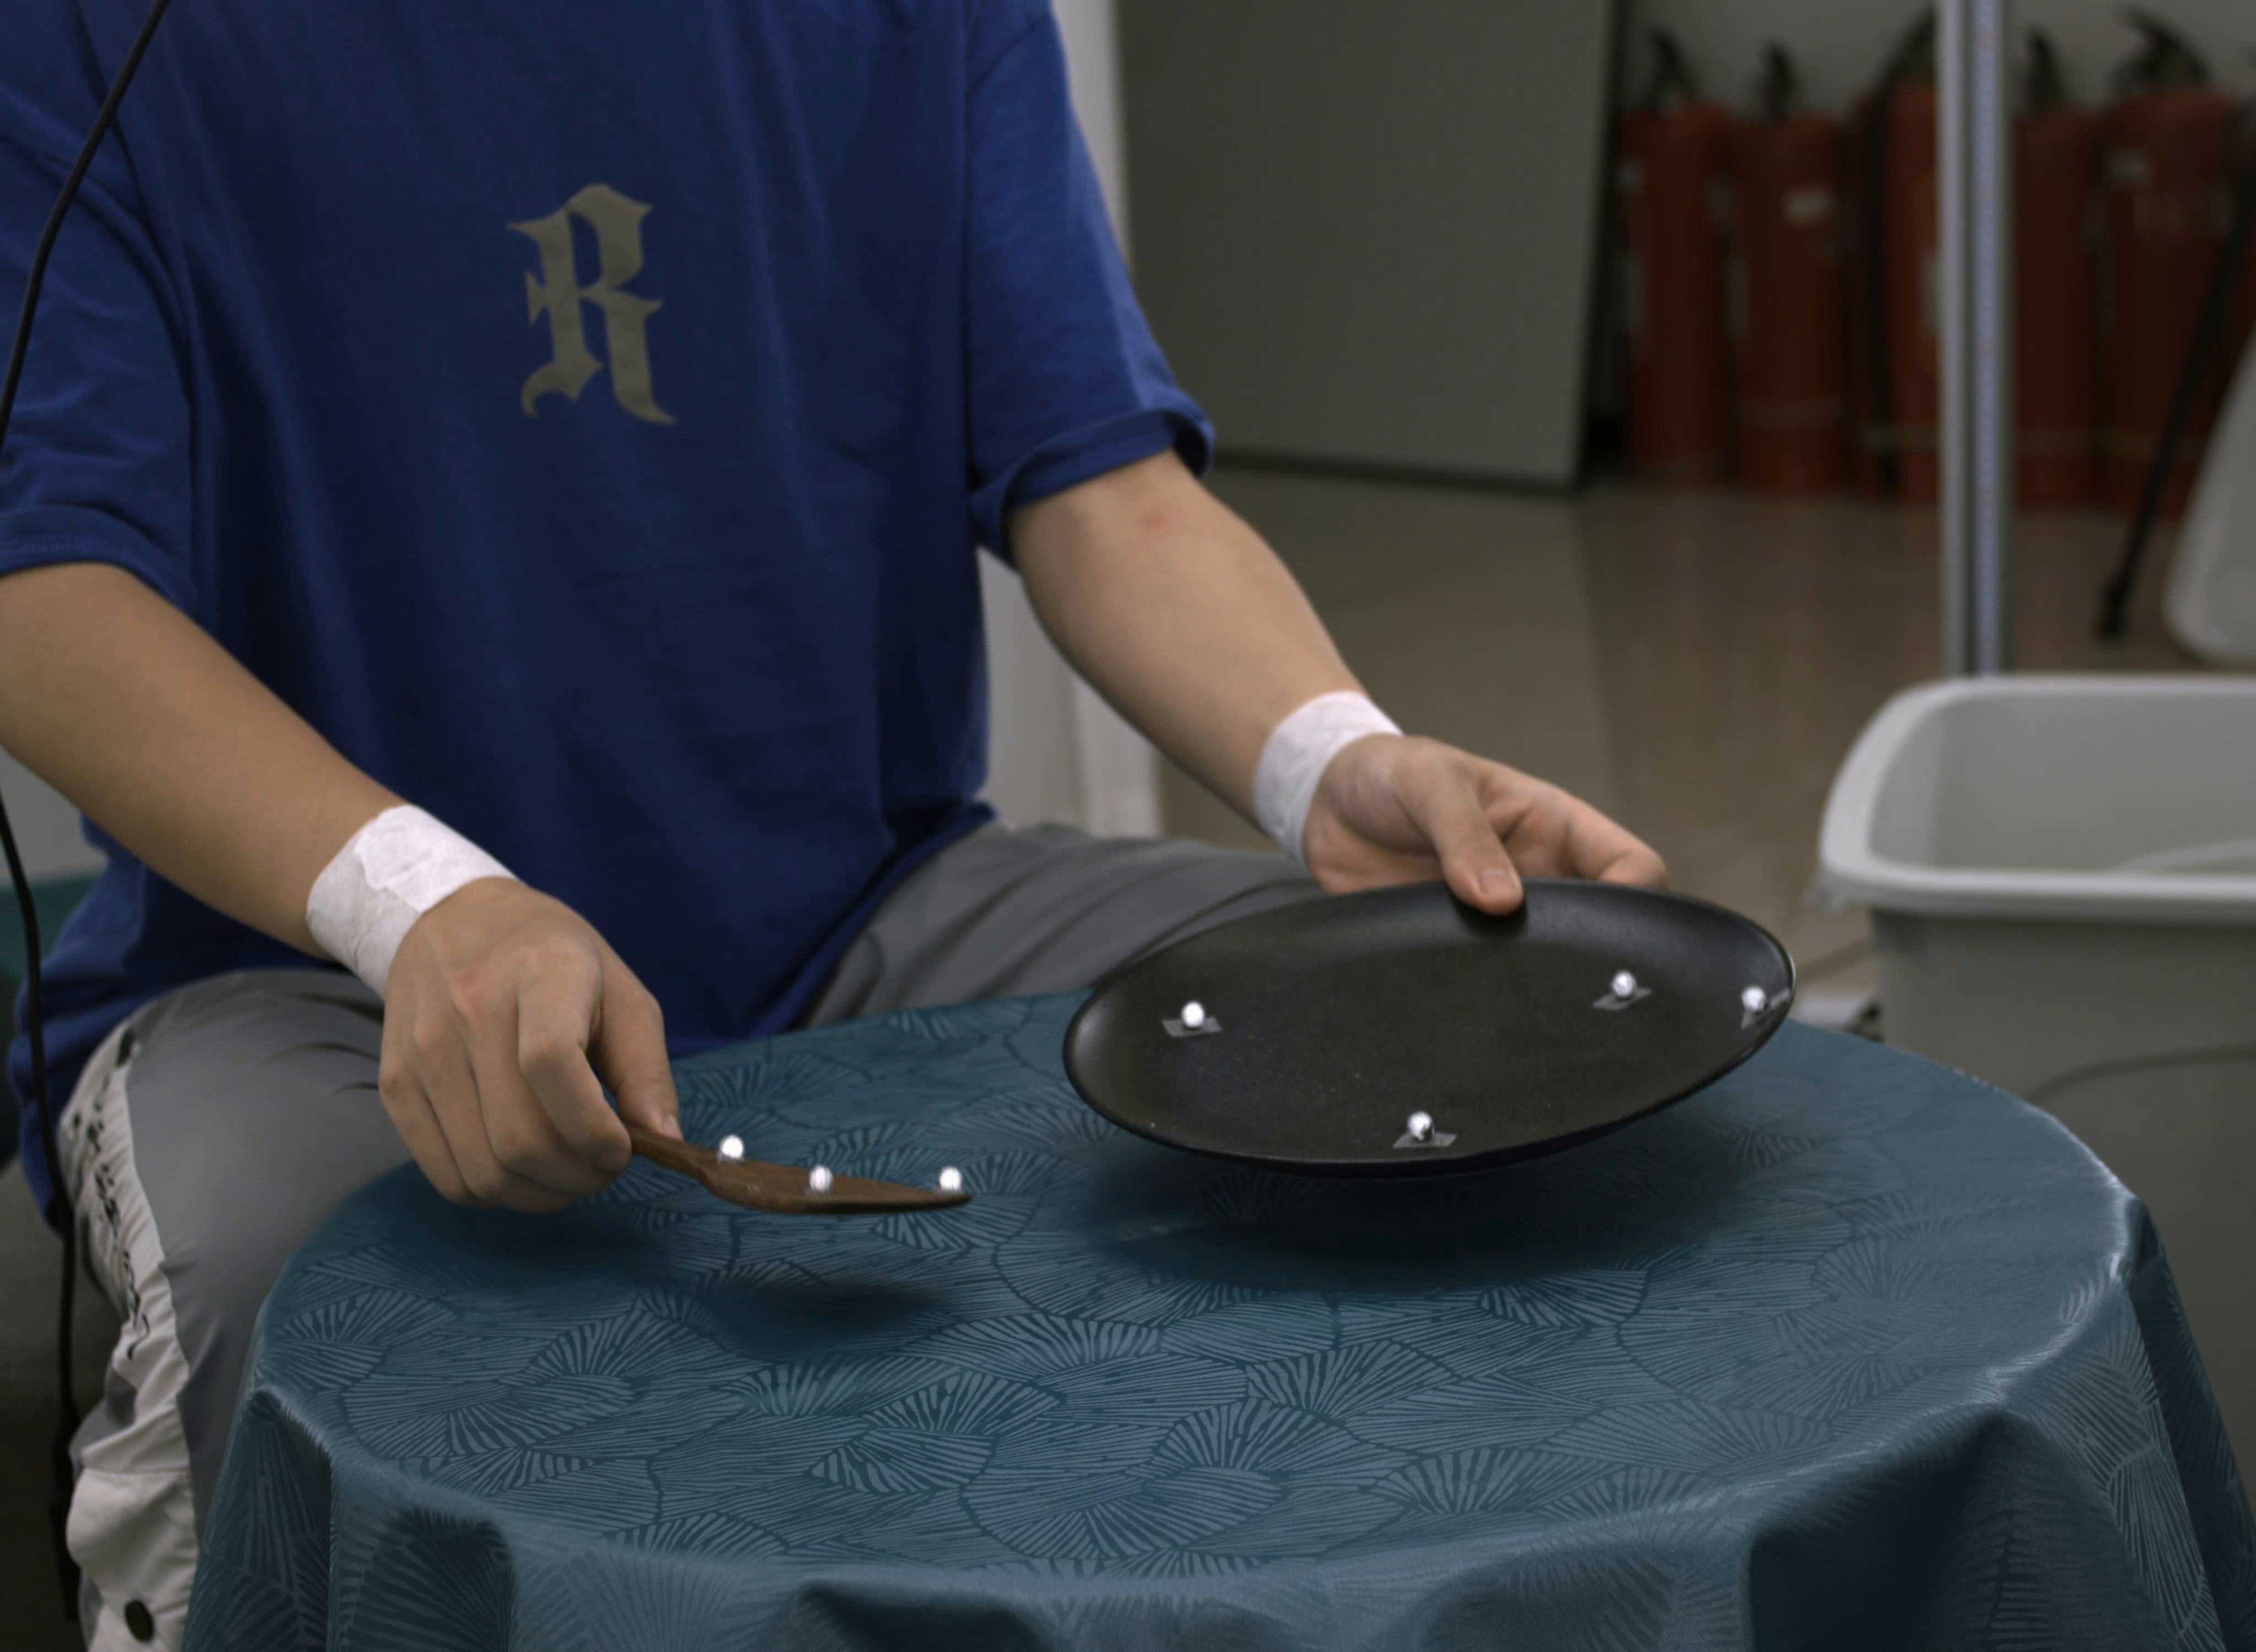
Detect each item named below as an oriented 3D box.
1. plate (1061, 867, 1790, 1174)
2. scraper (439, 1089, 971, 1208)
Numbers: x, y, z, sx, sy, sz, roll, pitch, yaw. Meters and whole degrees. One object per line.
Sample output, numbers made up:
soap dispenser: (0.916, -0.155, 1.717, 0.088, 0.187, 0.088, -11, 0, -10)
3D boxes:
plate: (0.098, 0.067, 1.765, 0.241, 0.023, 0.245, -8, 19, 2)
scraper: (-0.143, 0.103, 1.718, 0.213, 0.011, 0.074, 10, 4, 42)
